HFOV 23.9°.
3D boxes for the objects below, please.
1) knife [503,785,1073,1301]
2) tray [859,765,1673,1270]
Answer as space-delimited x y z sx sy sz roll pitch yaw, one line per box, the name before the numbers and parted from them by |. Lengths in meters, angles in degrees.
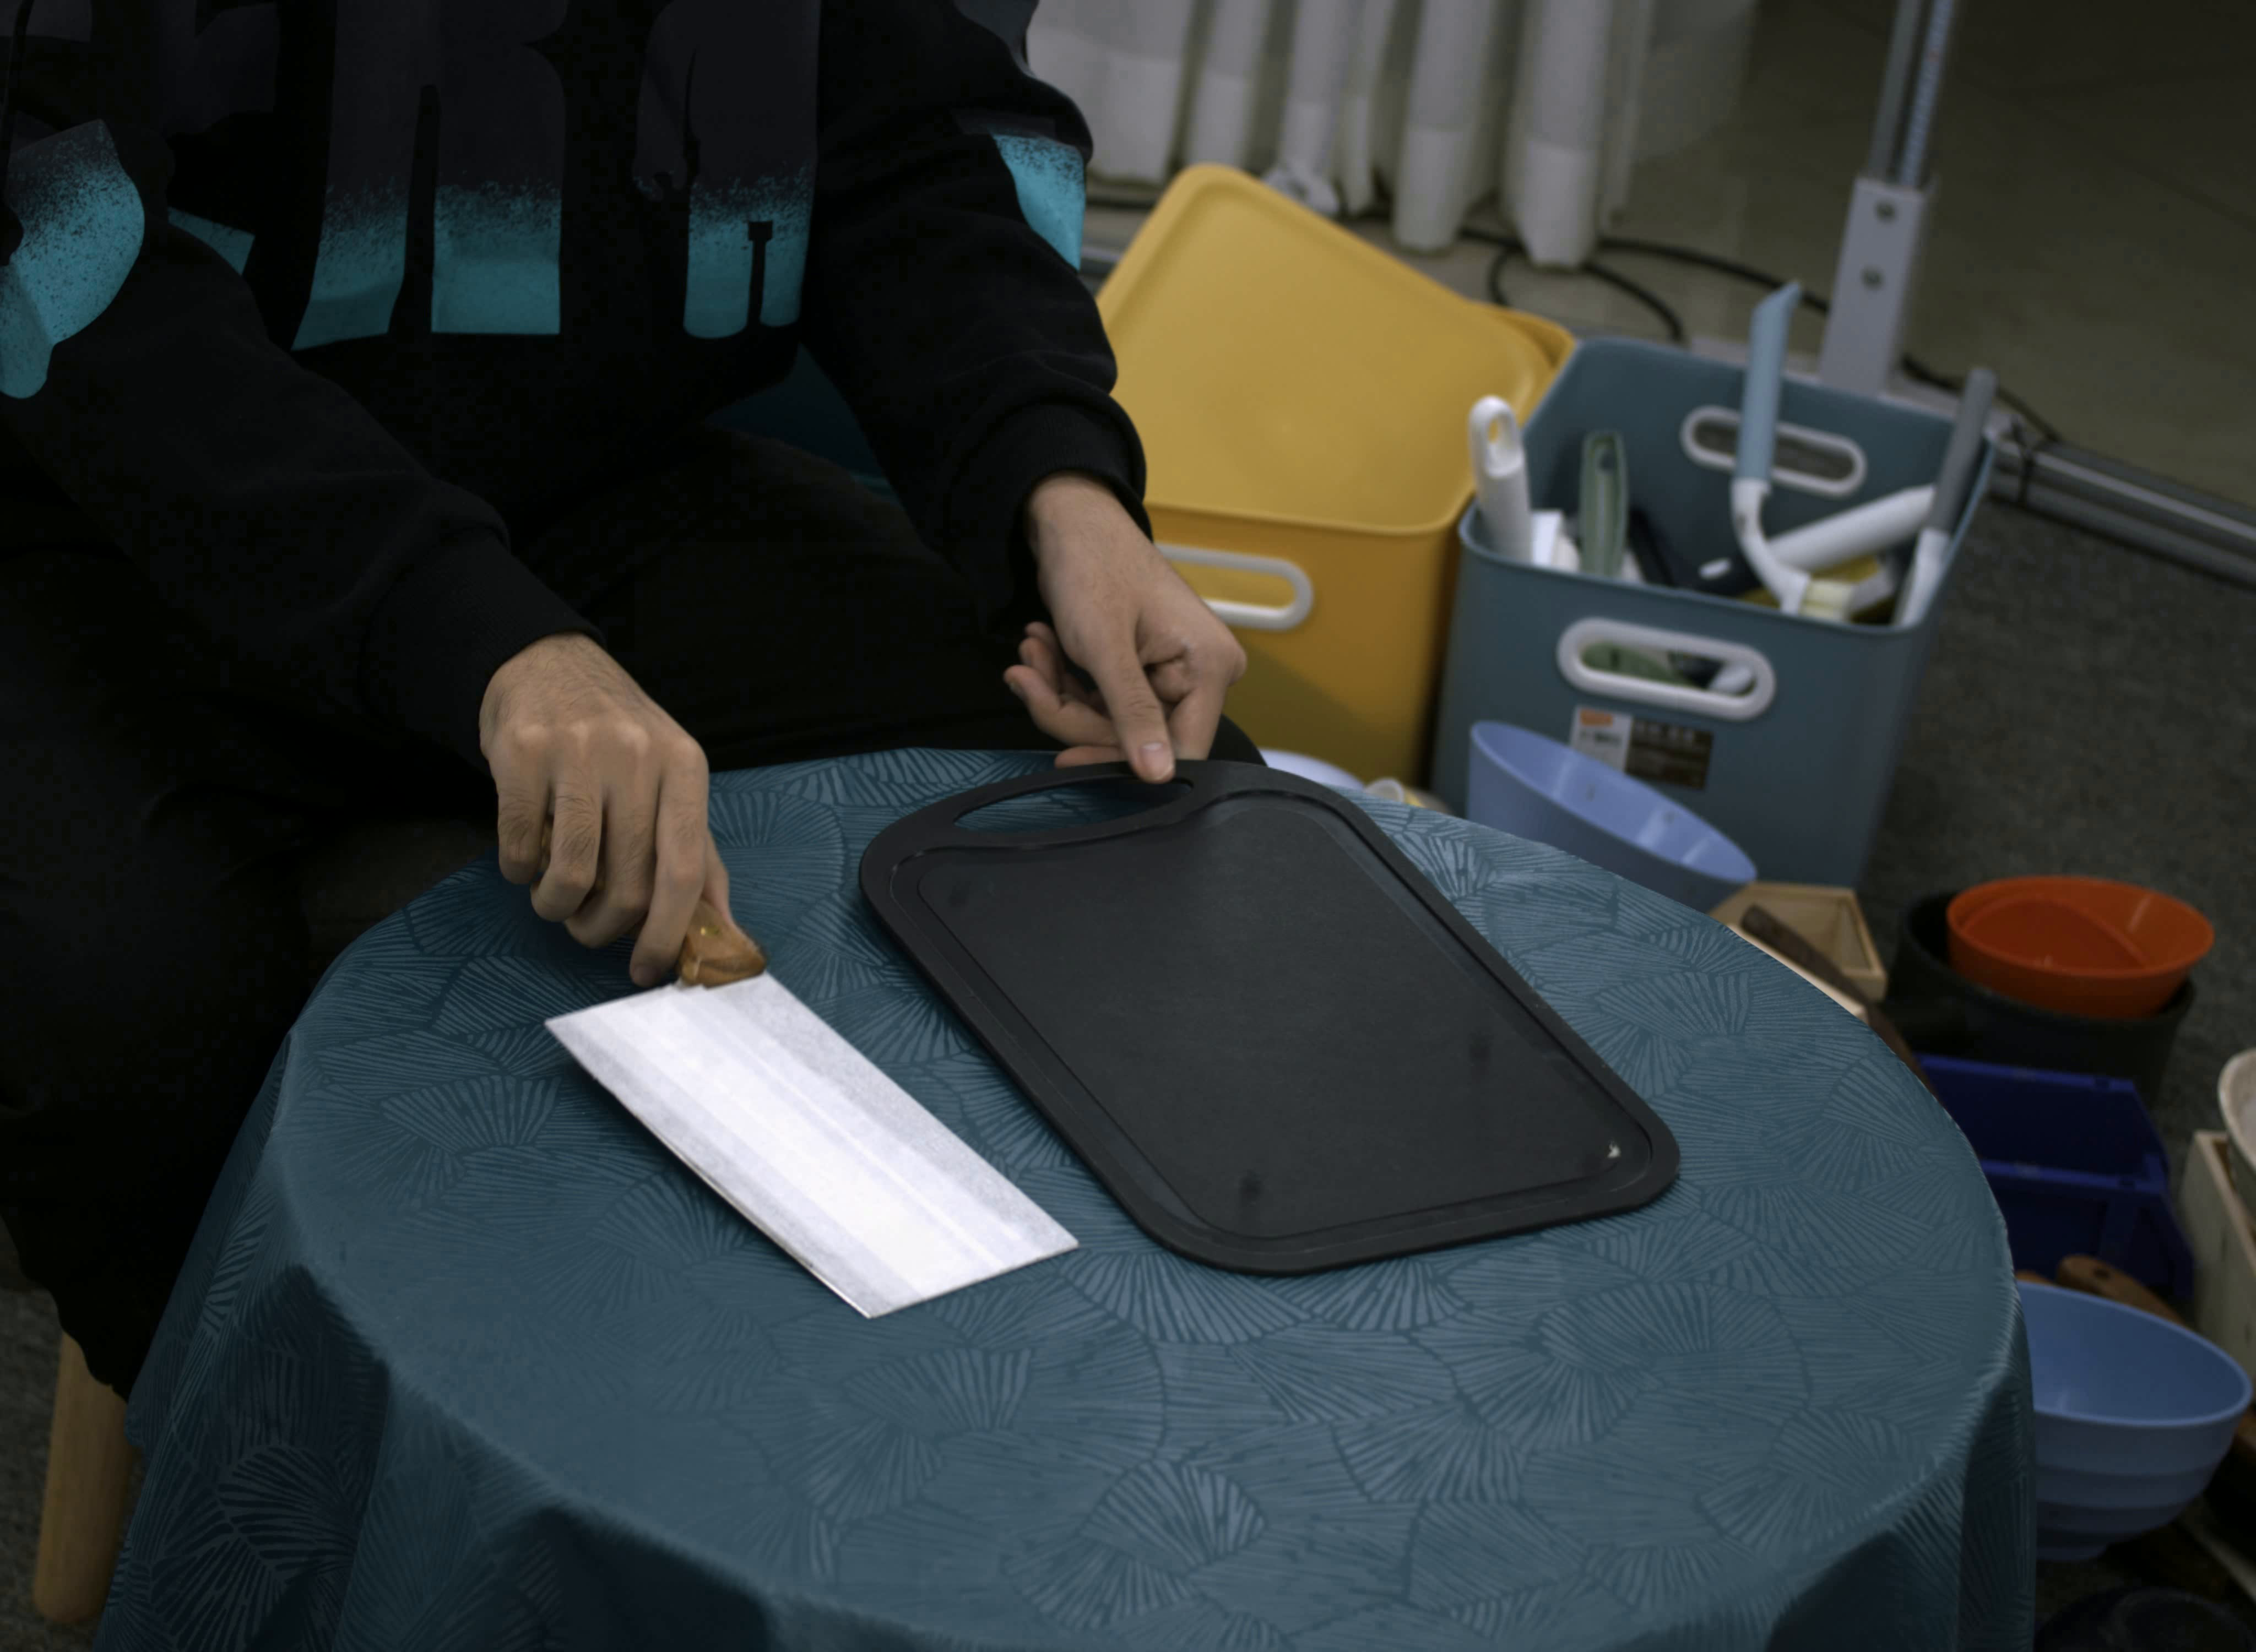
knife | -0.142 0.074 1.835 0.092 0.021 0.308 -16 40 -36
tray | 0.041 0.059 1.915 0.210 0.010 0.328 -9 33 -26
